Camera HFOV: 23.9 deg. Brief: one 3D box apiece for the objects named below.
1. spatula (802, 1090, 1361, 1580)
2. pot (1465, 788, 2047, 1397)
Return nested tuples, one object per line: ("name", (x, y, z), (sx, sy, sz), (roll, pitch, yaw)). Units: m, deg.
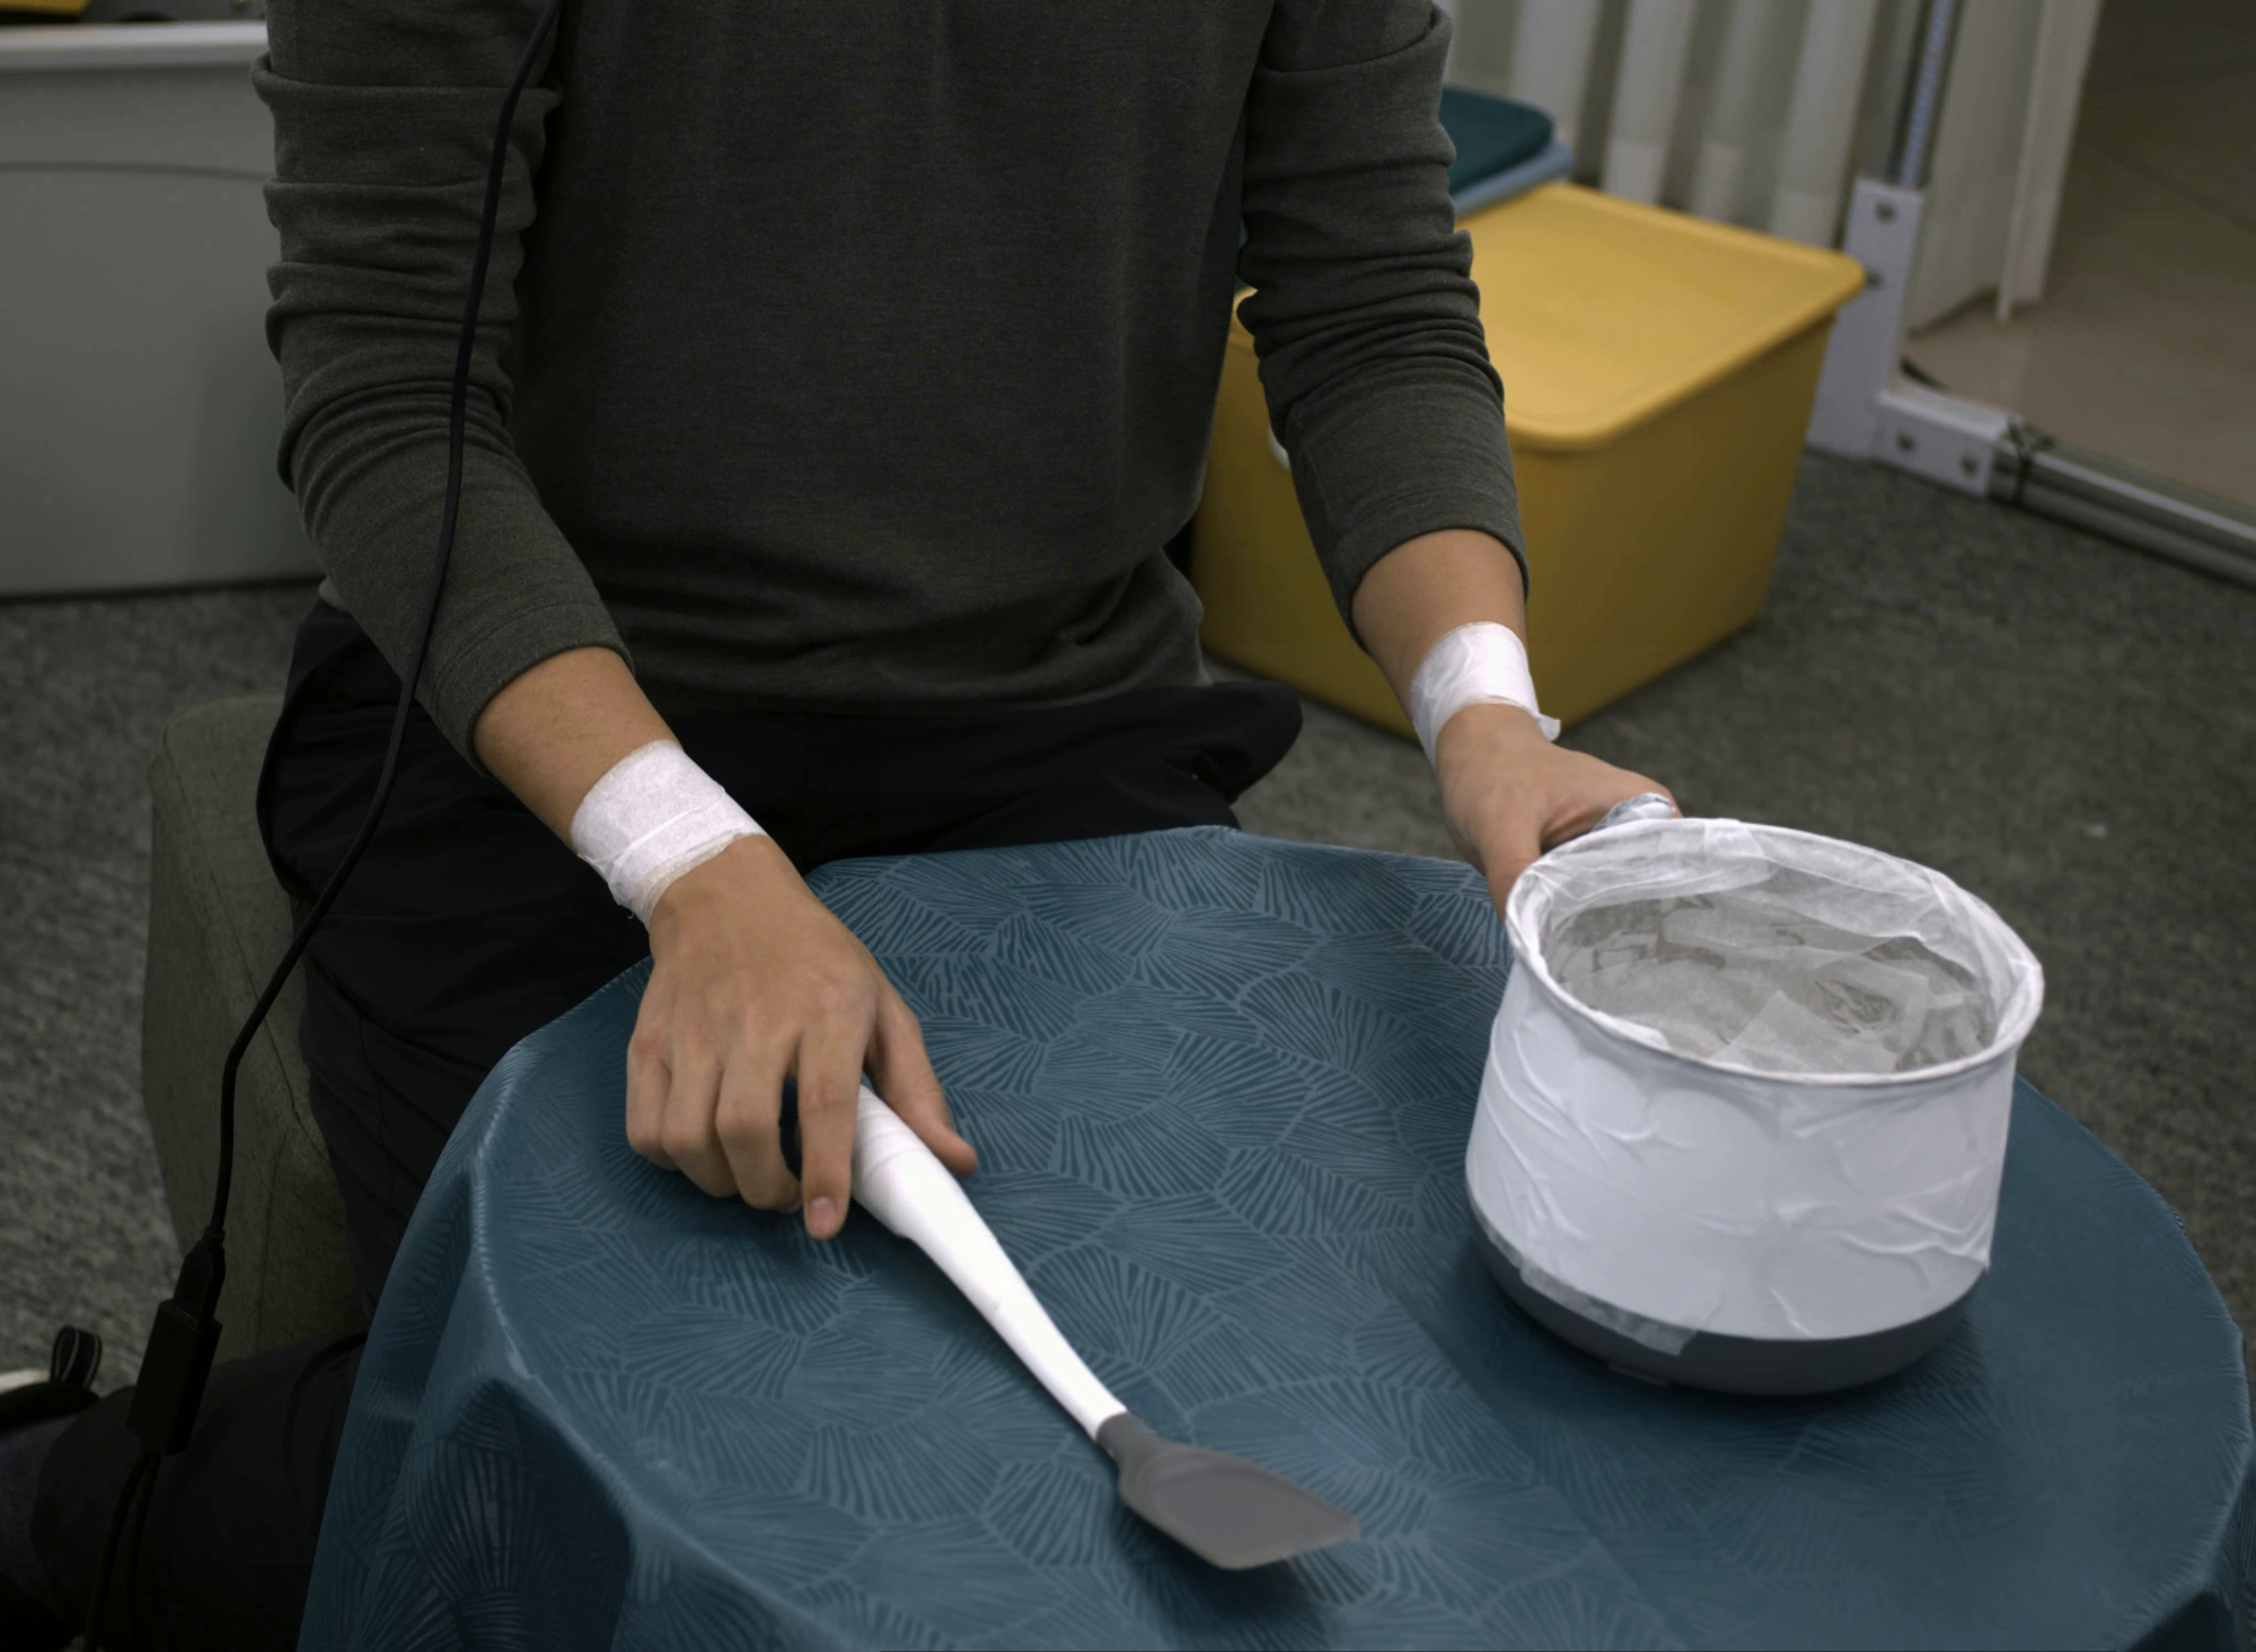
("spatula", (-0.023, 0.164, 1.685), (0.058, 0.032, 0.290), (-7, 29, -31))
("pot", (0.194, 0.081, 1.781), (0.177, 0.136, 0.236), (-4, 28, -20))
